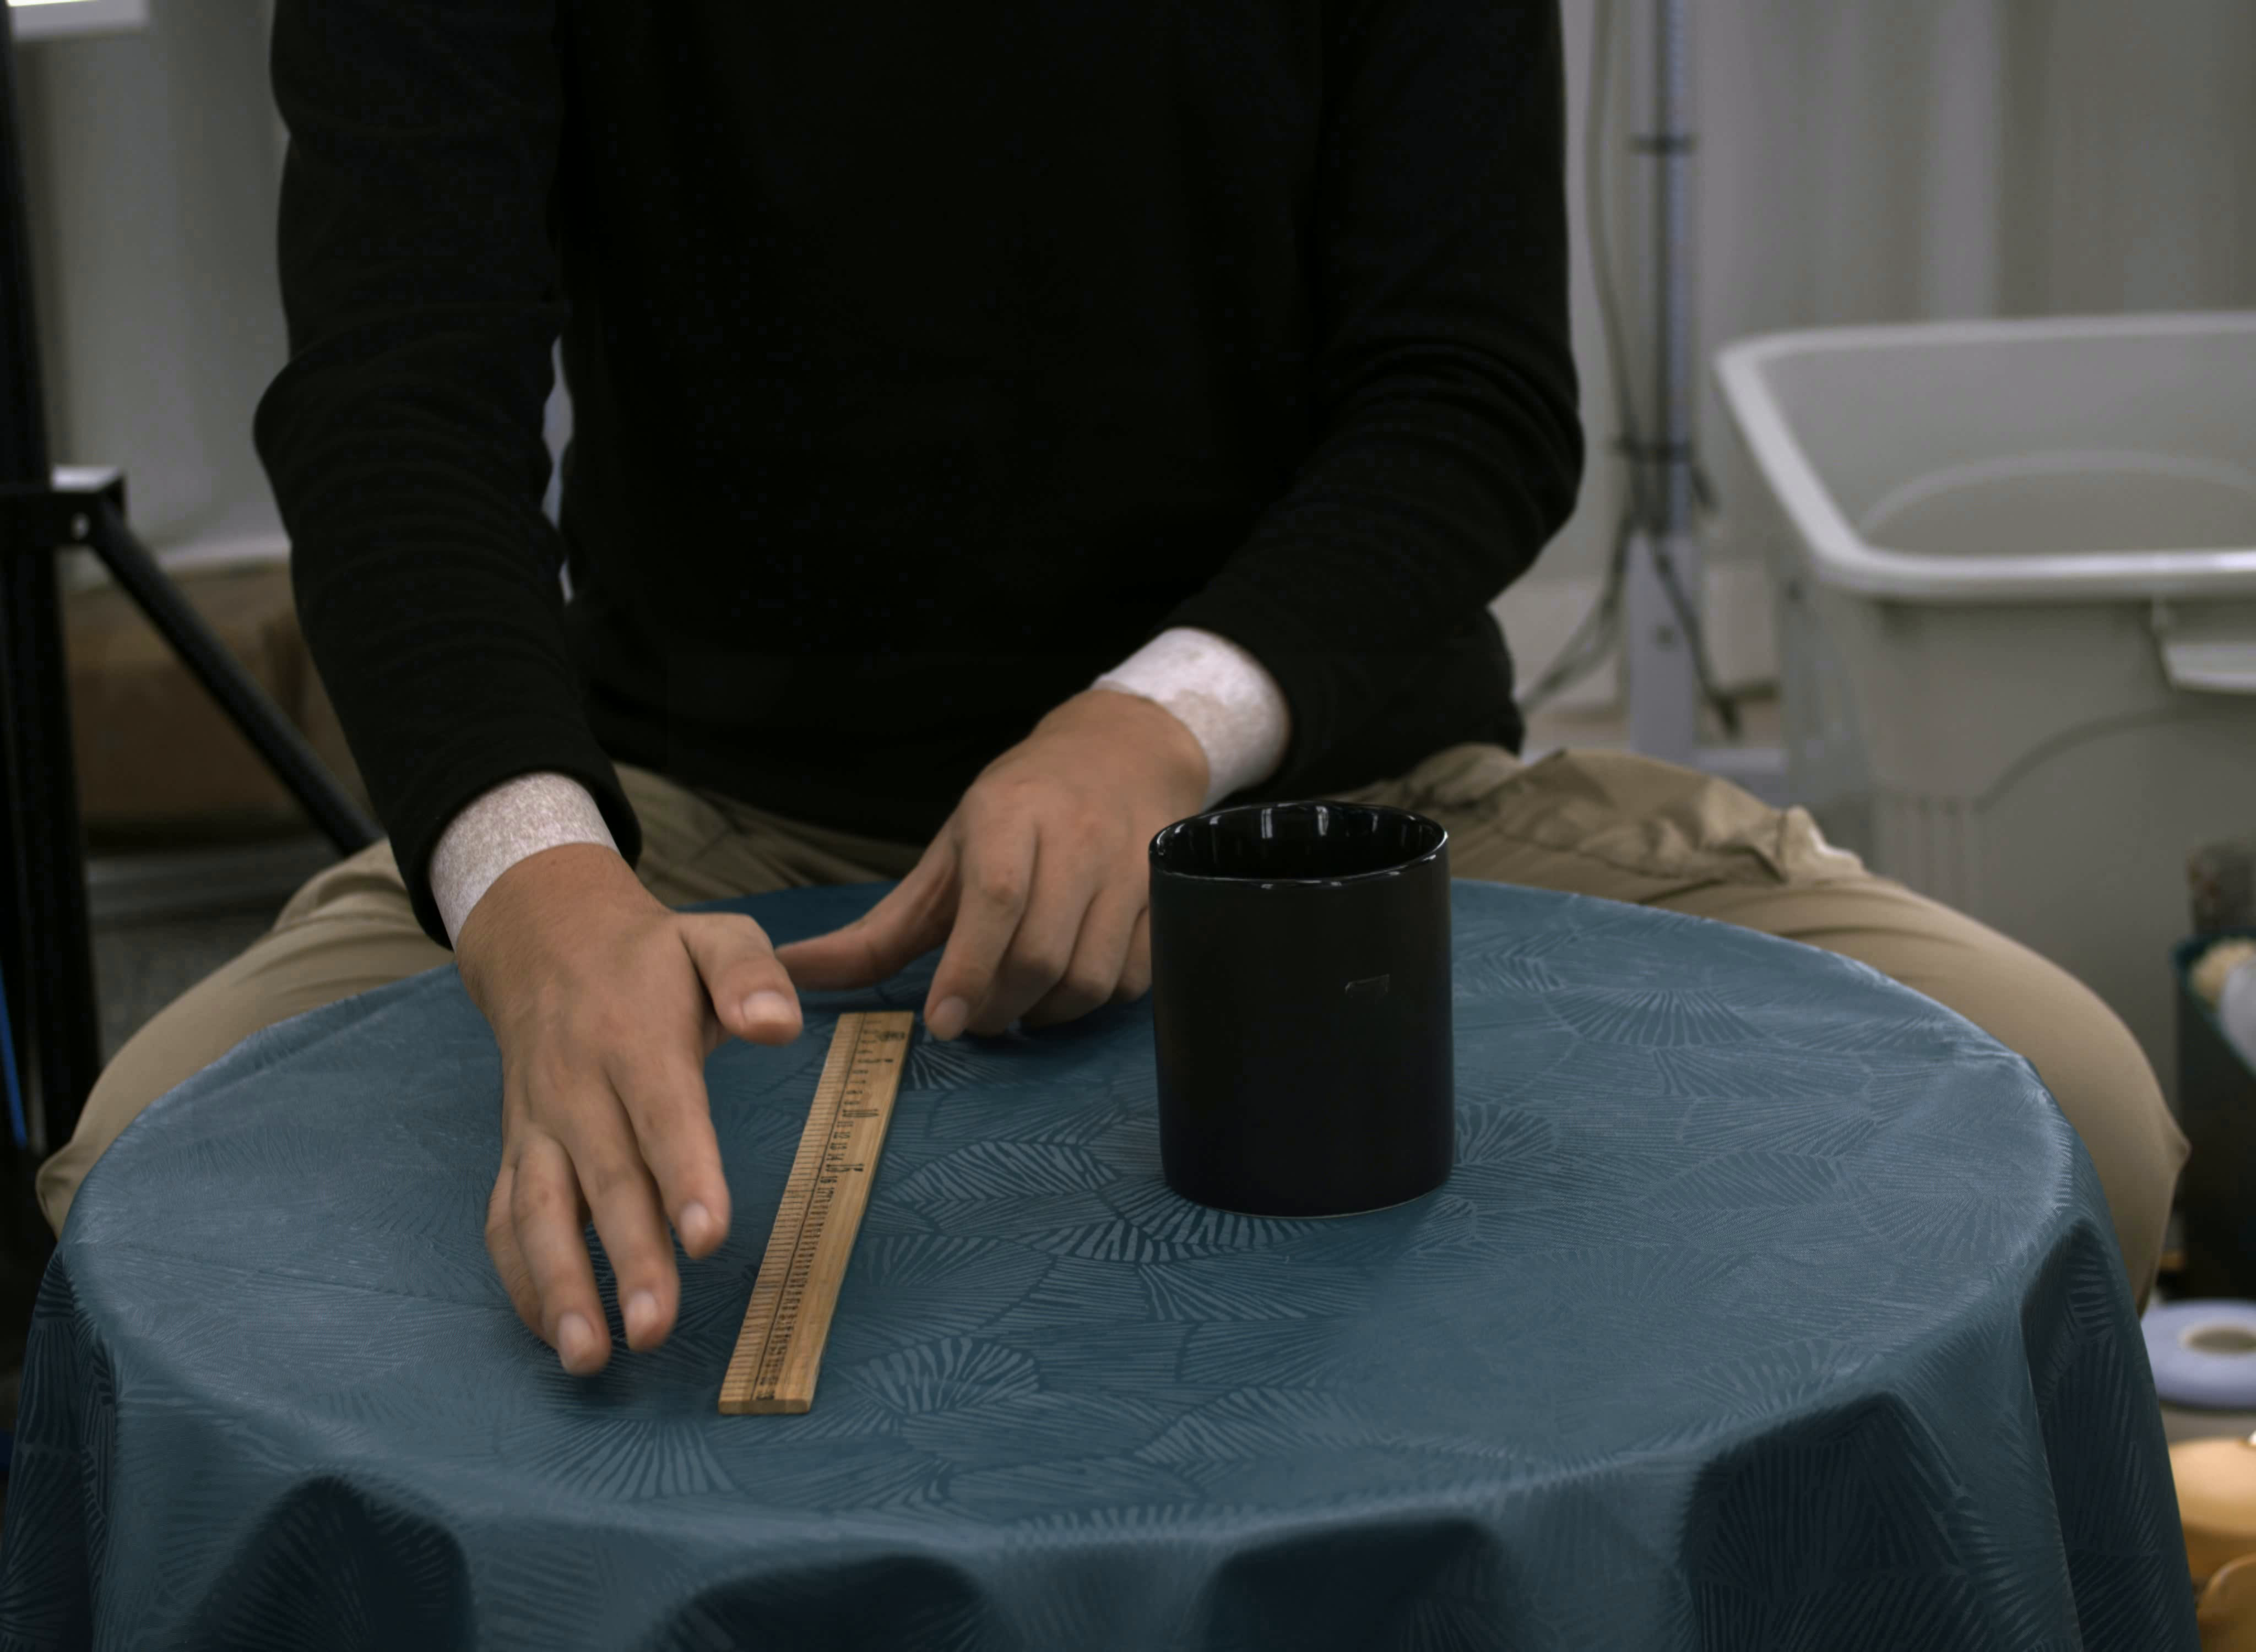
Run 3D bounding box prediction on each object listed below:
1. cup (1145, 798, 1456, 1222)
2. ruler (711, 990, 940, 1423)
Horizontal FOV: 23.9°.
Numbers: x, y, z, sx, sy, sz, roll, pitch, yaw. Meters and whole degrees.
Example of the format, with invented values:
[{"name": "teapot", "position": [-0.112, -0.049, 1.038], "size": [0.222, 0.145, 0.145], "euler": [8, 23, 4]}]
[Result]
[{"name": "cup", "position": [0.049, 0.049, 1.572], "size": [0.088, 0.105, 0.124], "euler": [-5, 15, -5]}, {"name": "ruler", "position": [-0.086, 0.104, 1.563], "size": [0.027, 0.022, 0.332], "euler": [3, 17, 4]}]
